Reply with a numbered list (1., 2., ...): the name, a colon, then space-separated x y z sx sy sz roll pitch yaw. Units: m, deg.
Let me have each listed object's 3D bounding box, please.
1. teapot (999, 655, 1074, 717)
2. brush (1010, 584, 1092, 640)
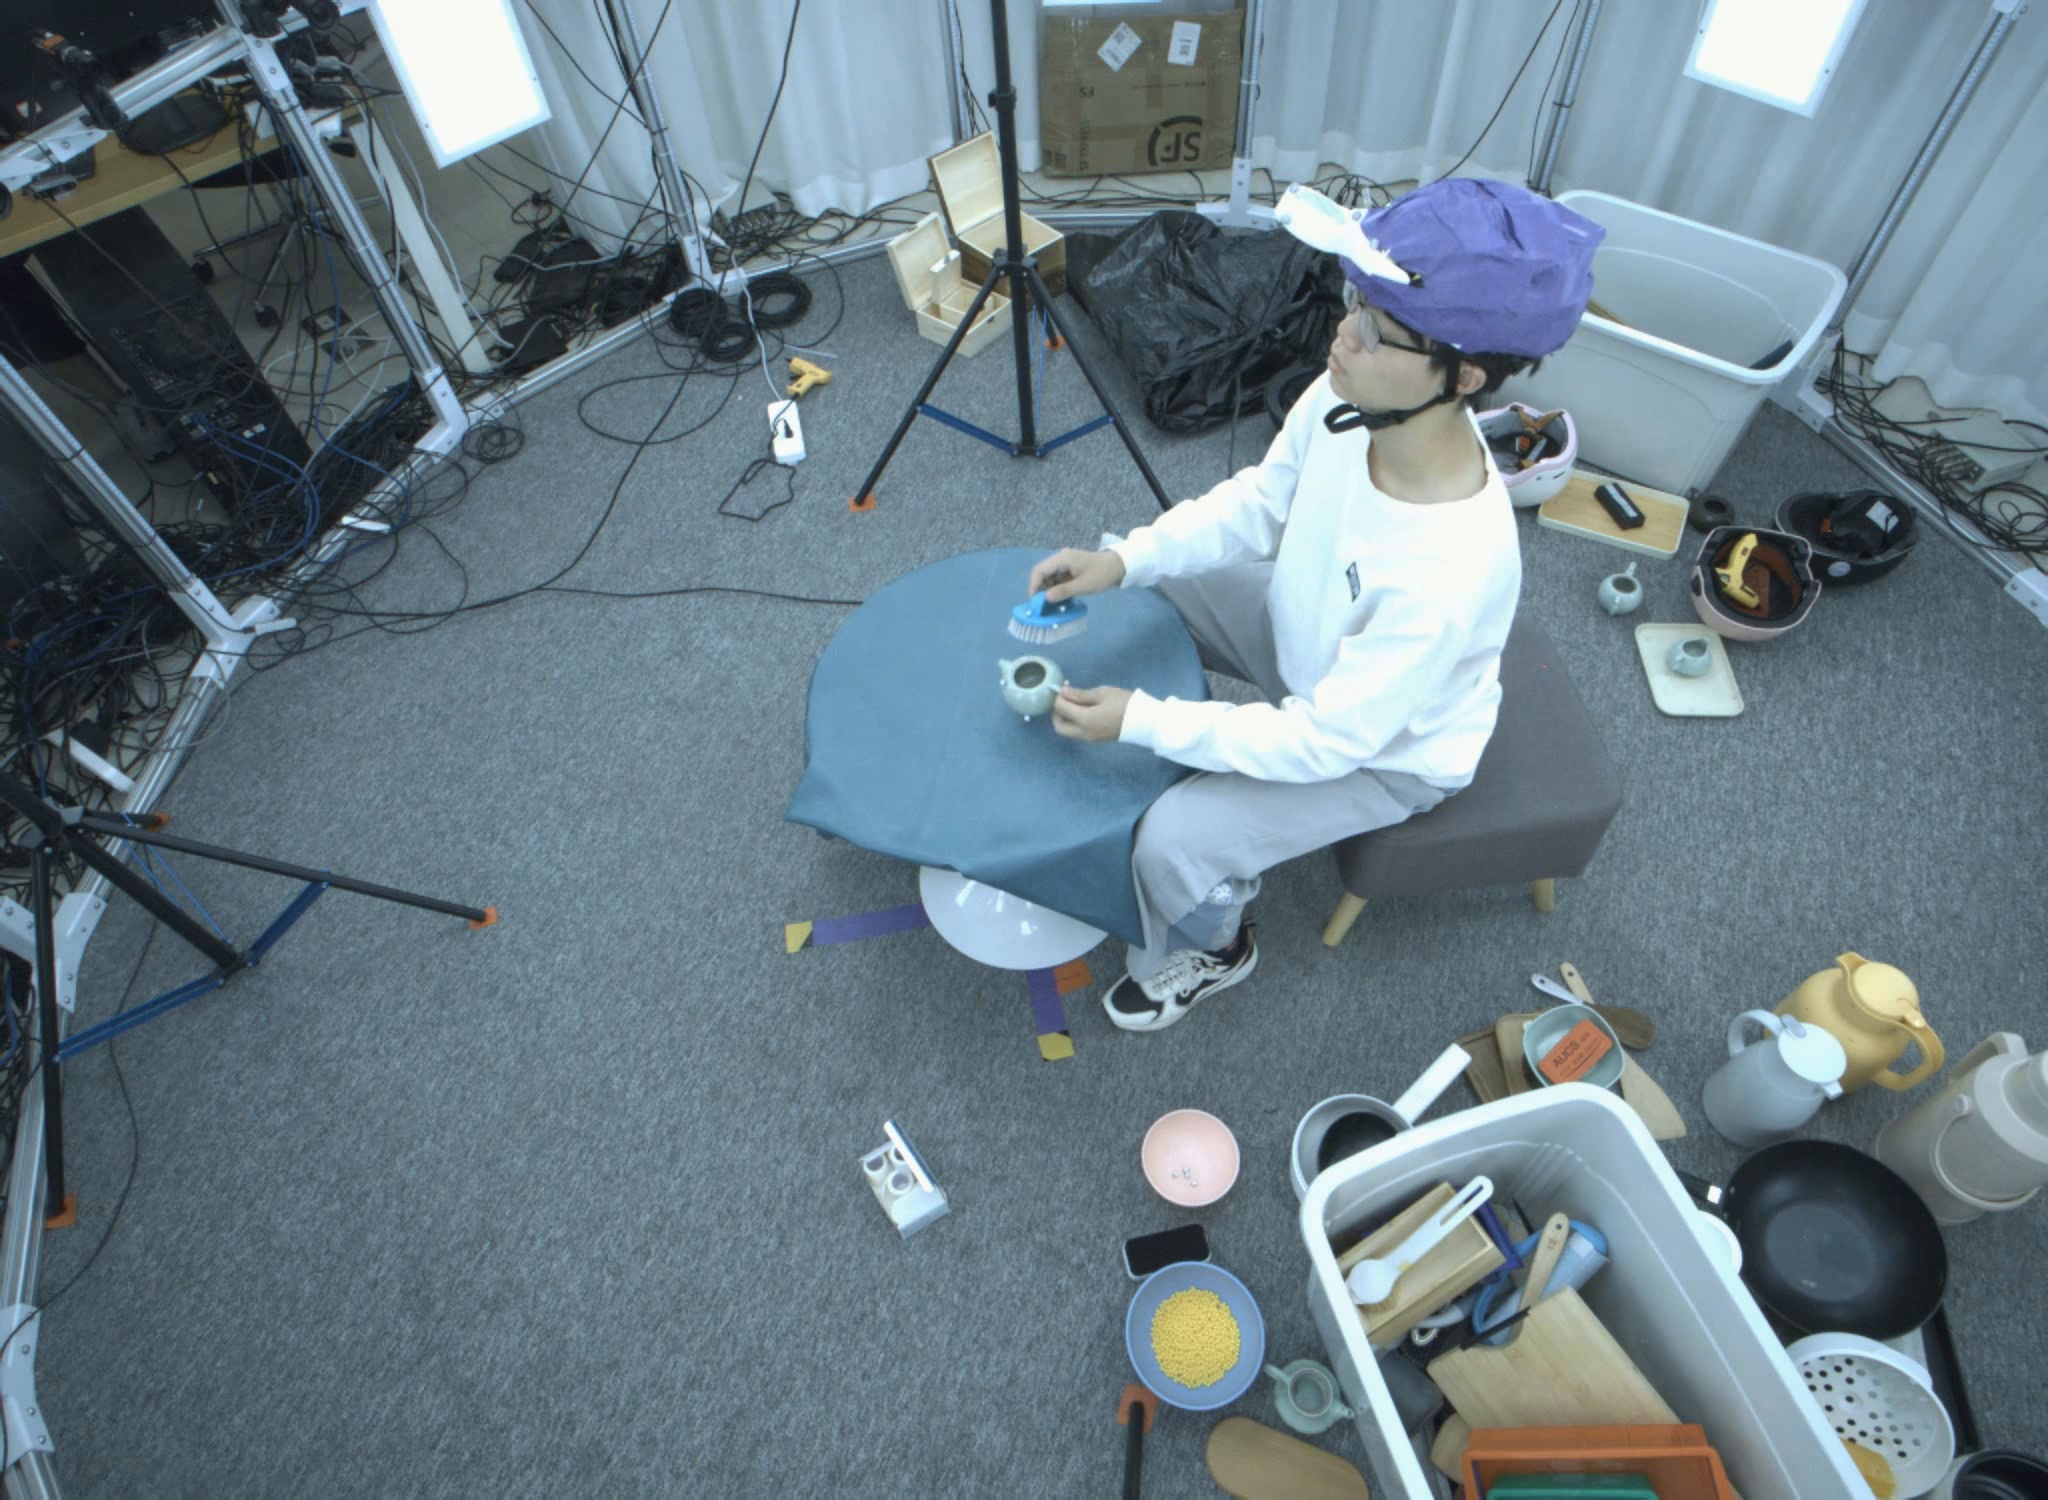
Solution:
1. teapot: 0.019 -0.087 1.755 0.126 0.062 0.092 31 68 25
2. brush: 0.039 -0.205 1.776 0.082 0.064 0.144 22 28 33
